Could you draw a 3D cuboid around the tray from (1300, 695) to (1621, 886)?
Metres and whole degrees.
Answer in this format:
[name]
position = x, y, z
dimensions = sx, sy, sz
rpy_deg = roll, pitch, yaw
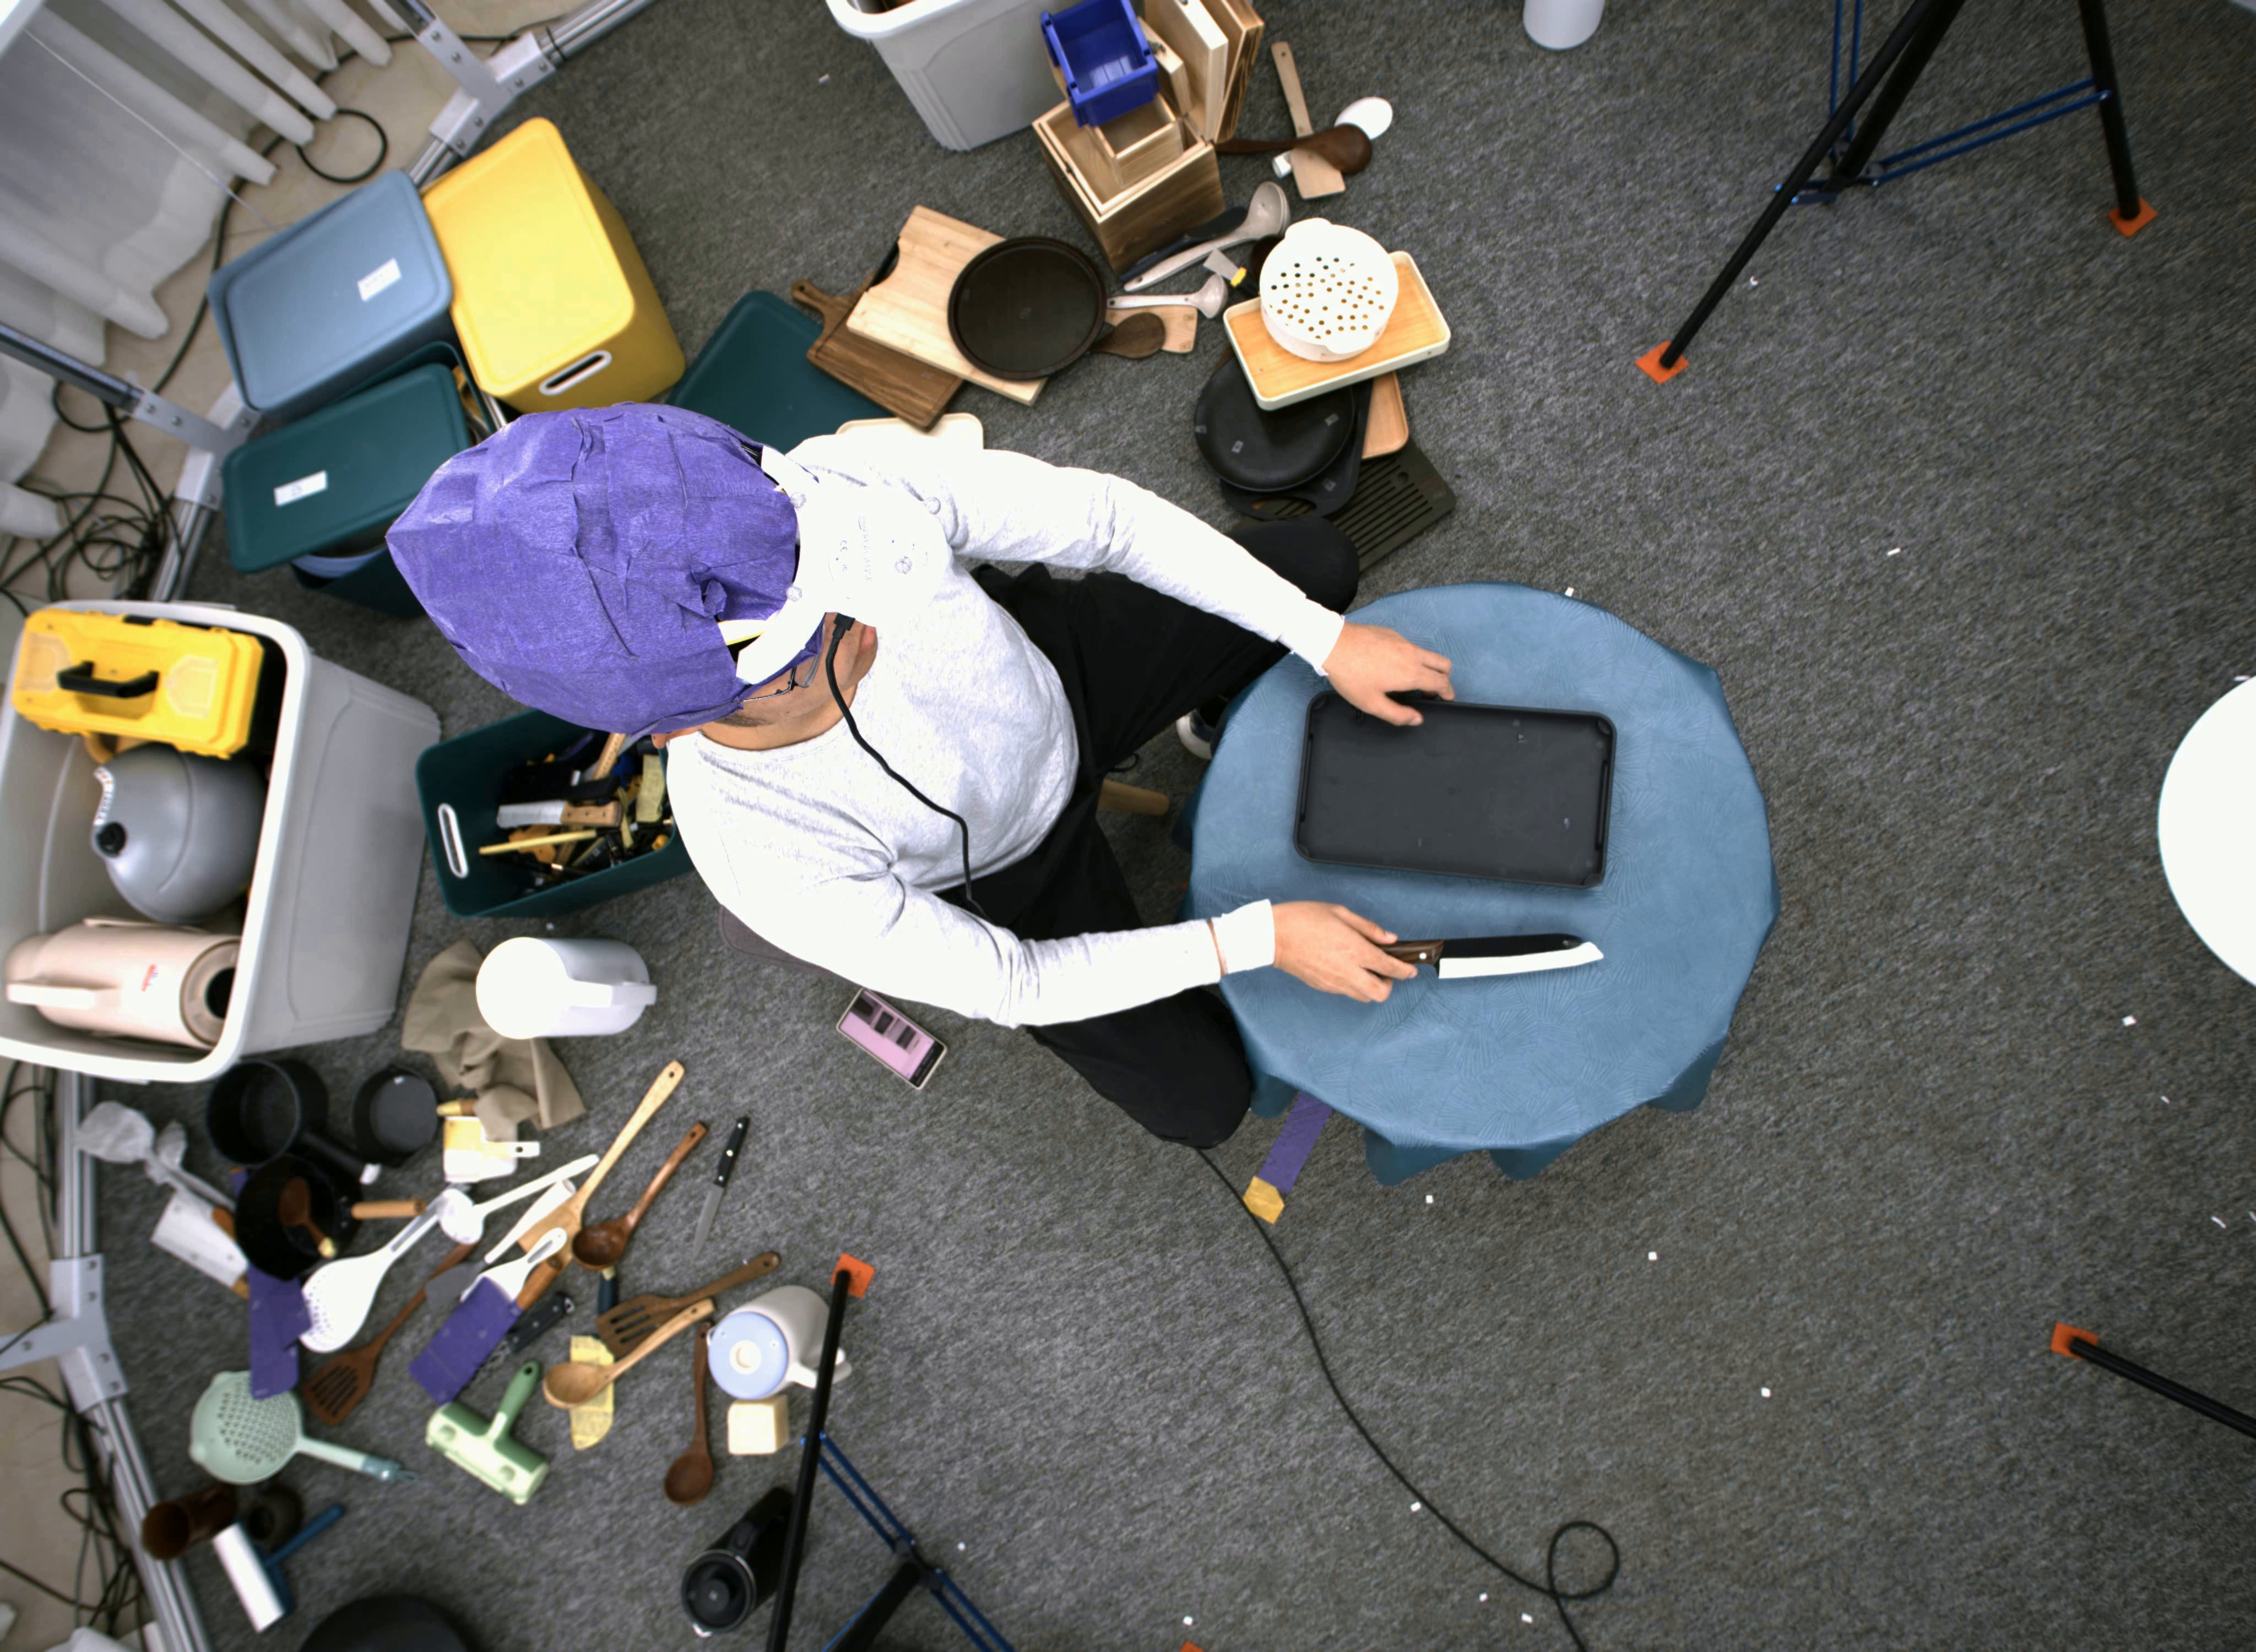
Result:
[tray]
position = 0.344, -0.039, 1.434
dimensions = 0.319, 0.037, 0.183
rpy_deg = 4, 87, 11

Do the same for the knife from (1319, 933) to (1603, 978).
[knife]
position = 0.338, 0.131, 1.399
dimensions = 0.290, 0.019, 0.051
rpy_deg = -2, 118, 3
